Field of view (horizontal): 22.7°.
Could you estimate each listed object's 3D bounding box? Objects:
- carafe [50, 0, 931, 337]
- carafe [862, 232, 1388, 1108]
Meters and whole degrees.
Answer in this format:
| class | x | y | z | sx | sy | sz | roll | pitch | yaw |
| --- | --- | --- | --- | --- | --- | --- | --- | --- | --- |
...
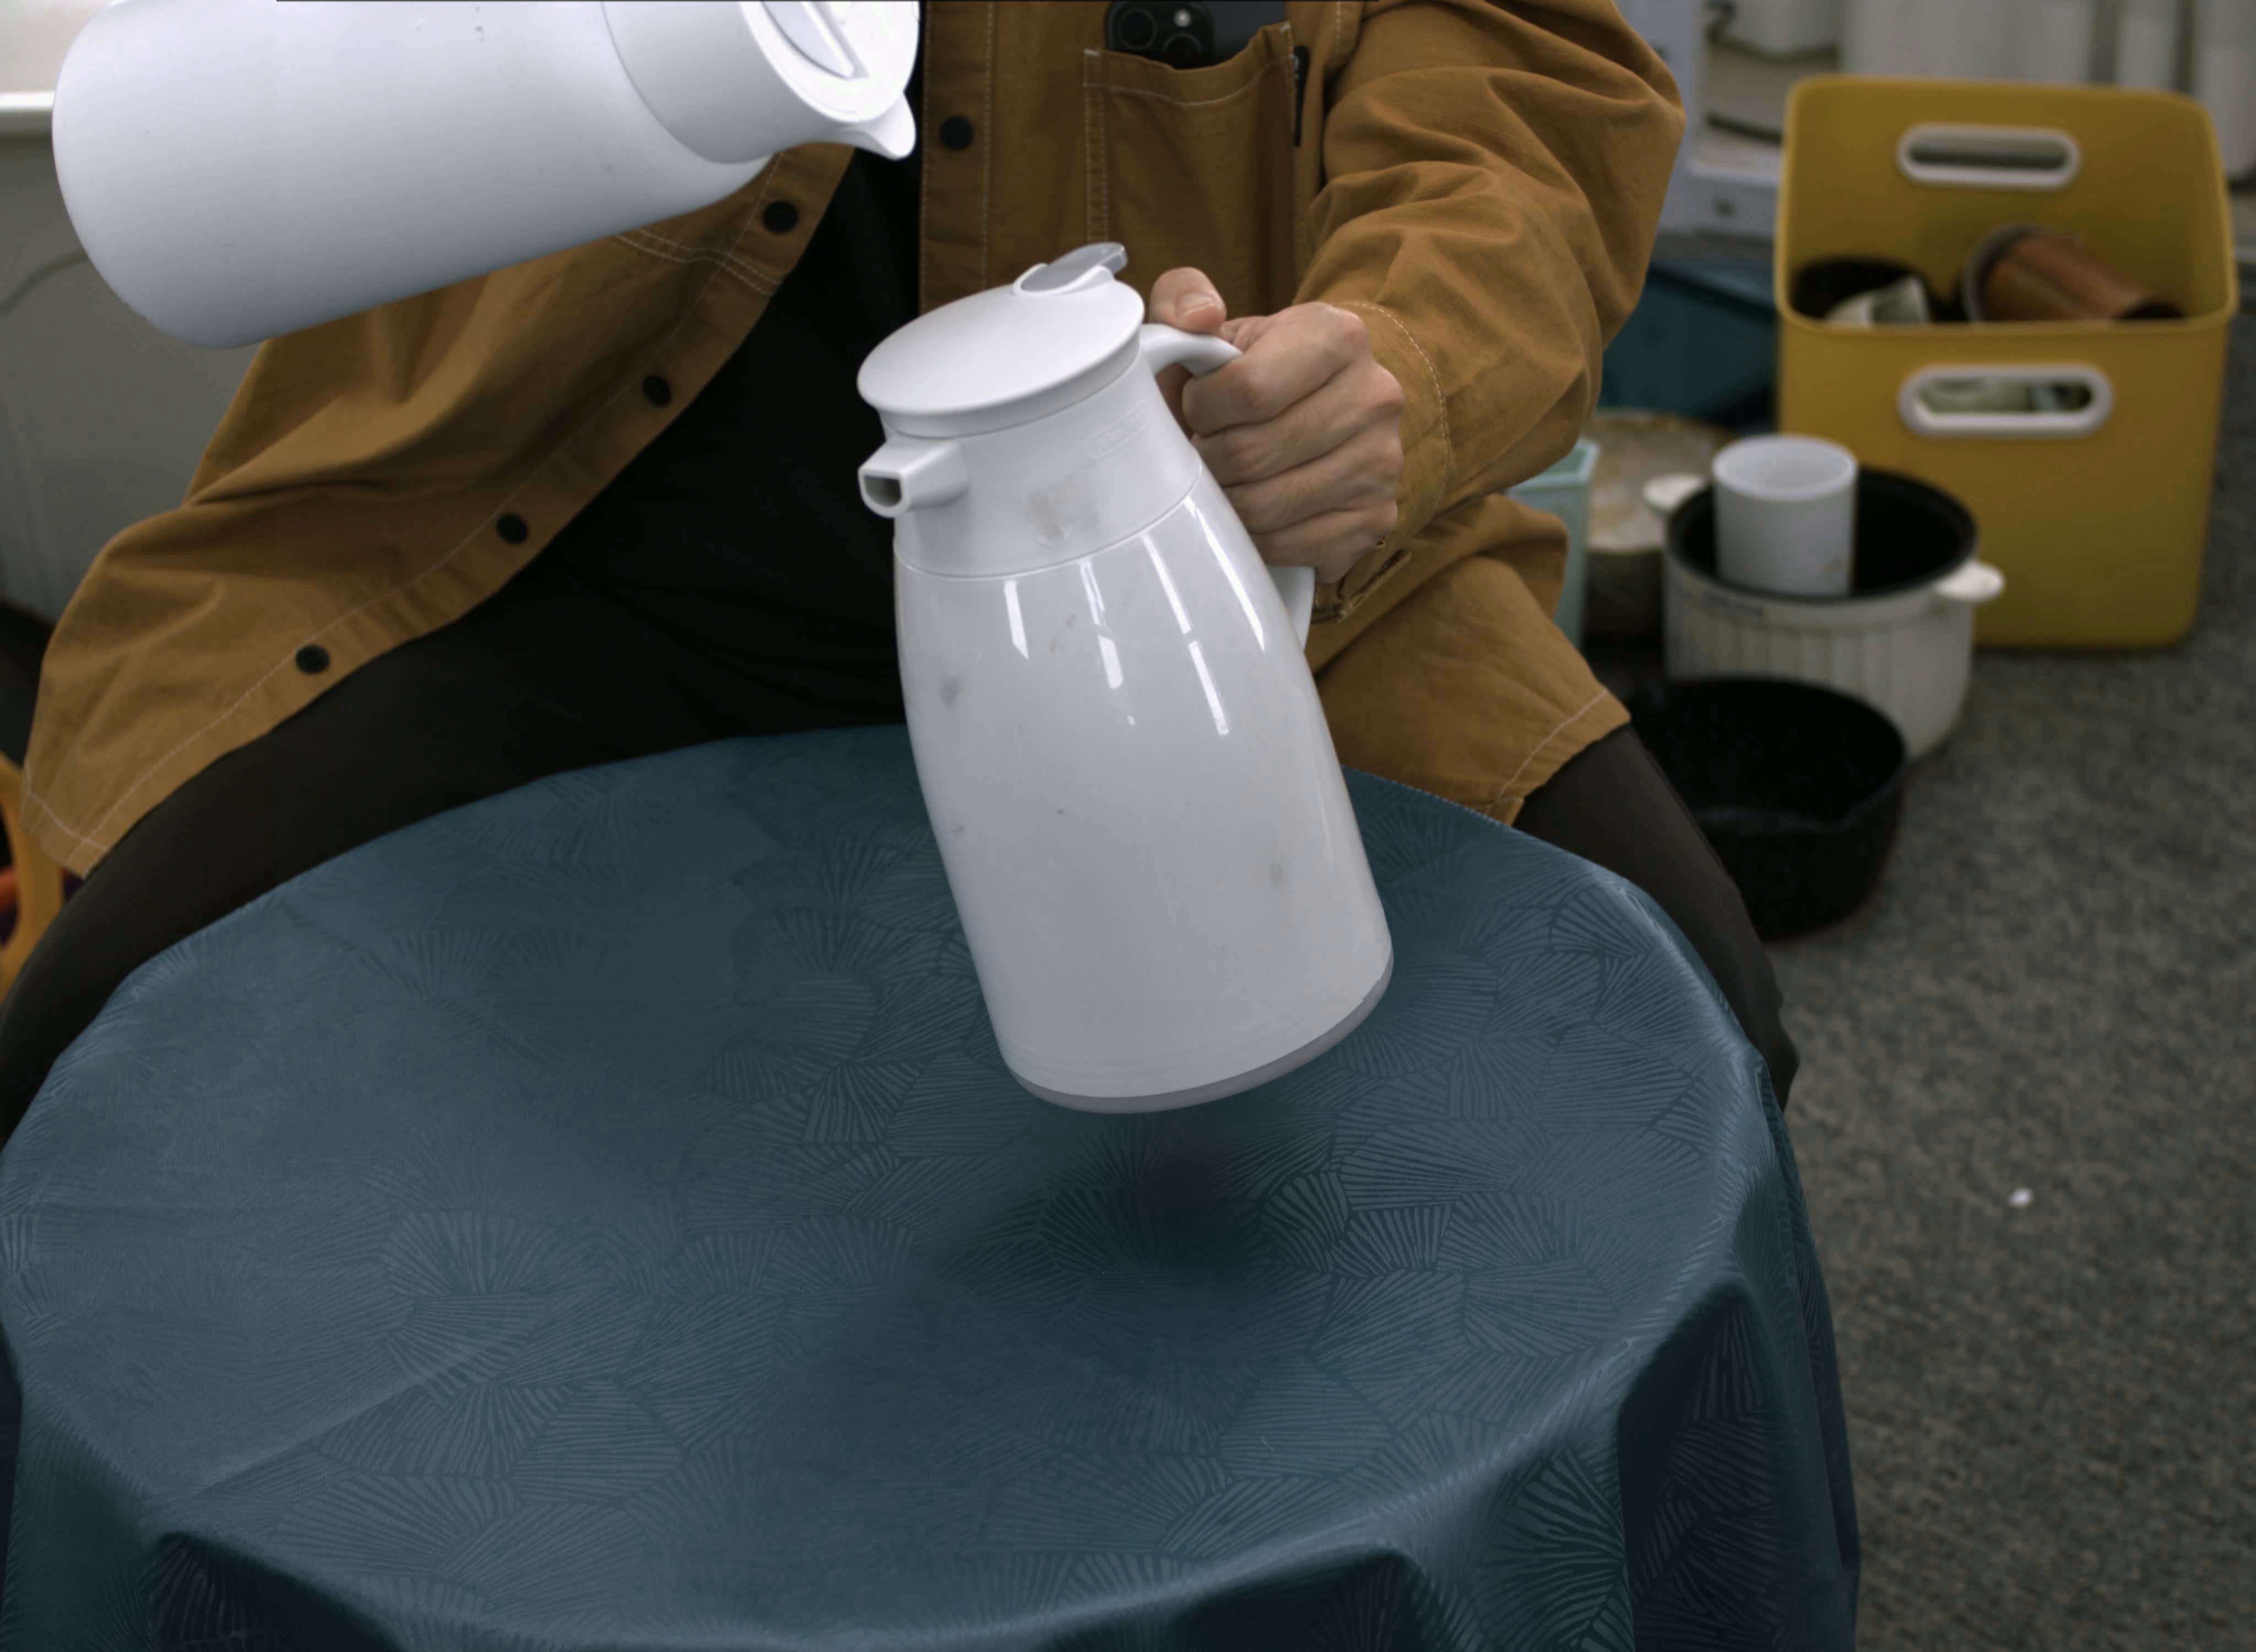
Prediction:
| class | x | y | z | sx | sy | sz | roll | pitch | yaw |
| --- | --- | --- | --- | --- | --- | --- | --- | --- | --- |
| carafe | -0.208 | -0.247 | 1.733 | 0.265 | 0.171 | 0.126 | -12 | 35 | 33 |
| carafe | 0.001 | -0.060 | 1.783 | 0.131 | 0.246 | 0.170 | 7 | 33 | 41 |
